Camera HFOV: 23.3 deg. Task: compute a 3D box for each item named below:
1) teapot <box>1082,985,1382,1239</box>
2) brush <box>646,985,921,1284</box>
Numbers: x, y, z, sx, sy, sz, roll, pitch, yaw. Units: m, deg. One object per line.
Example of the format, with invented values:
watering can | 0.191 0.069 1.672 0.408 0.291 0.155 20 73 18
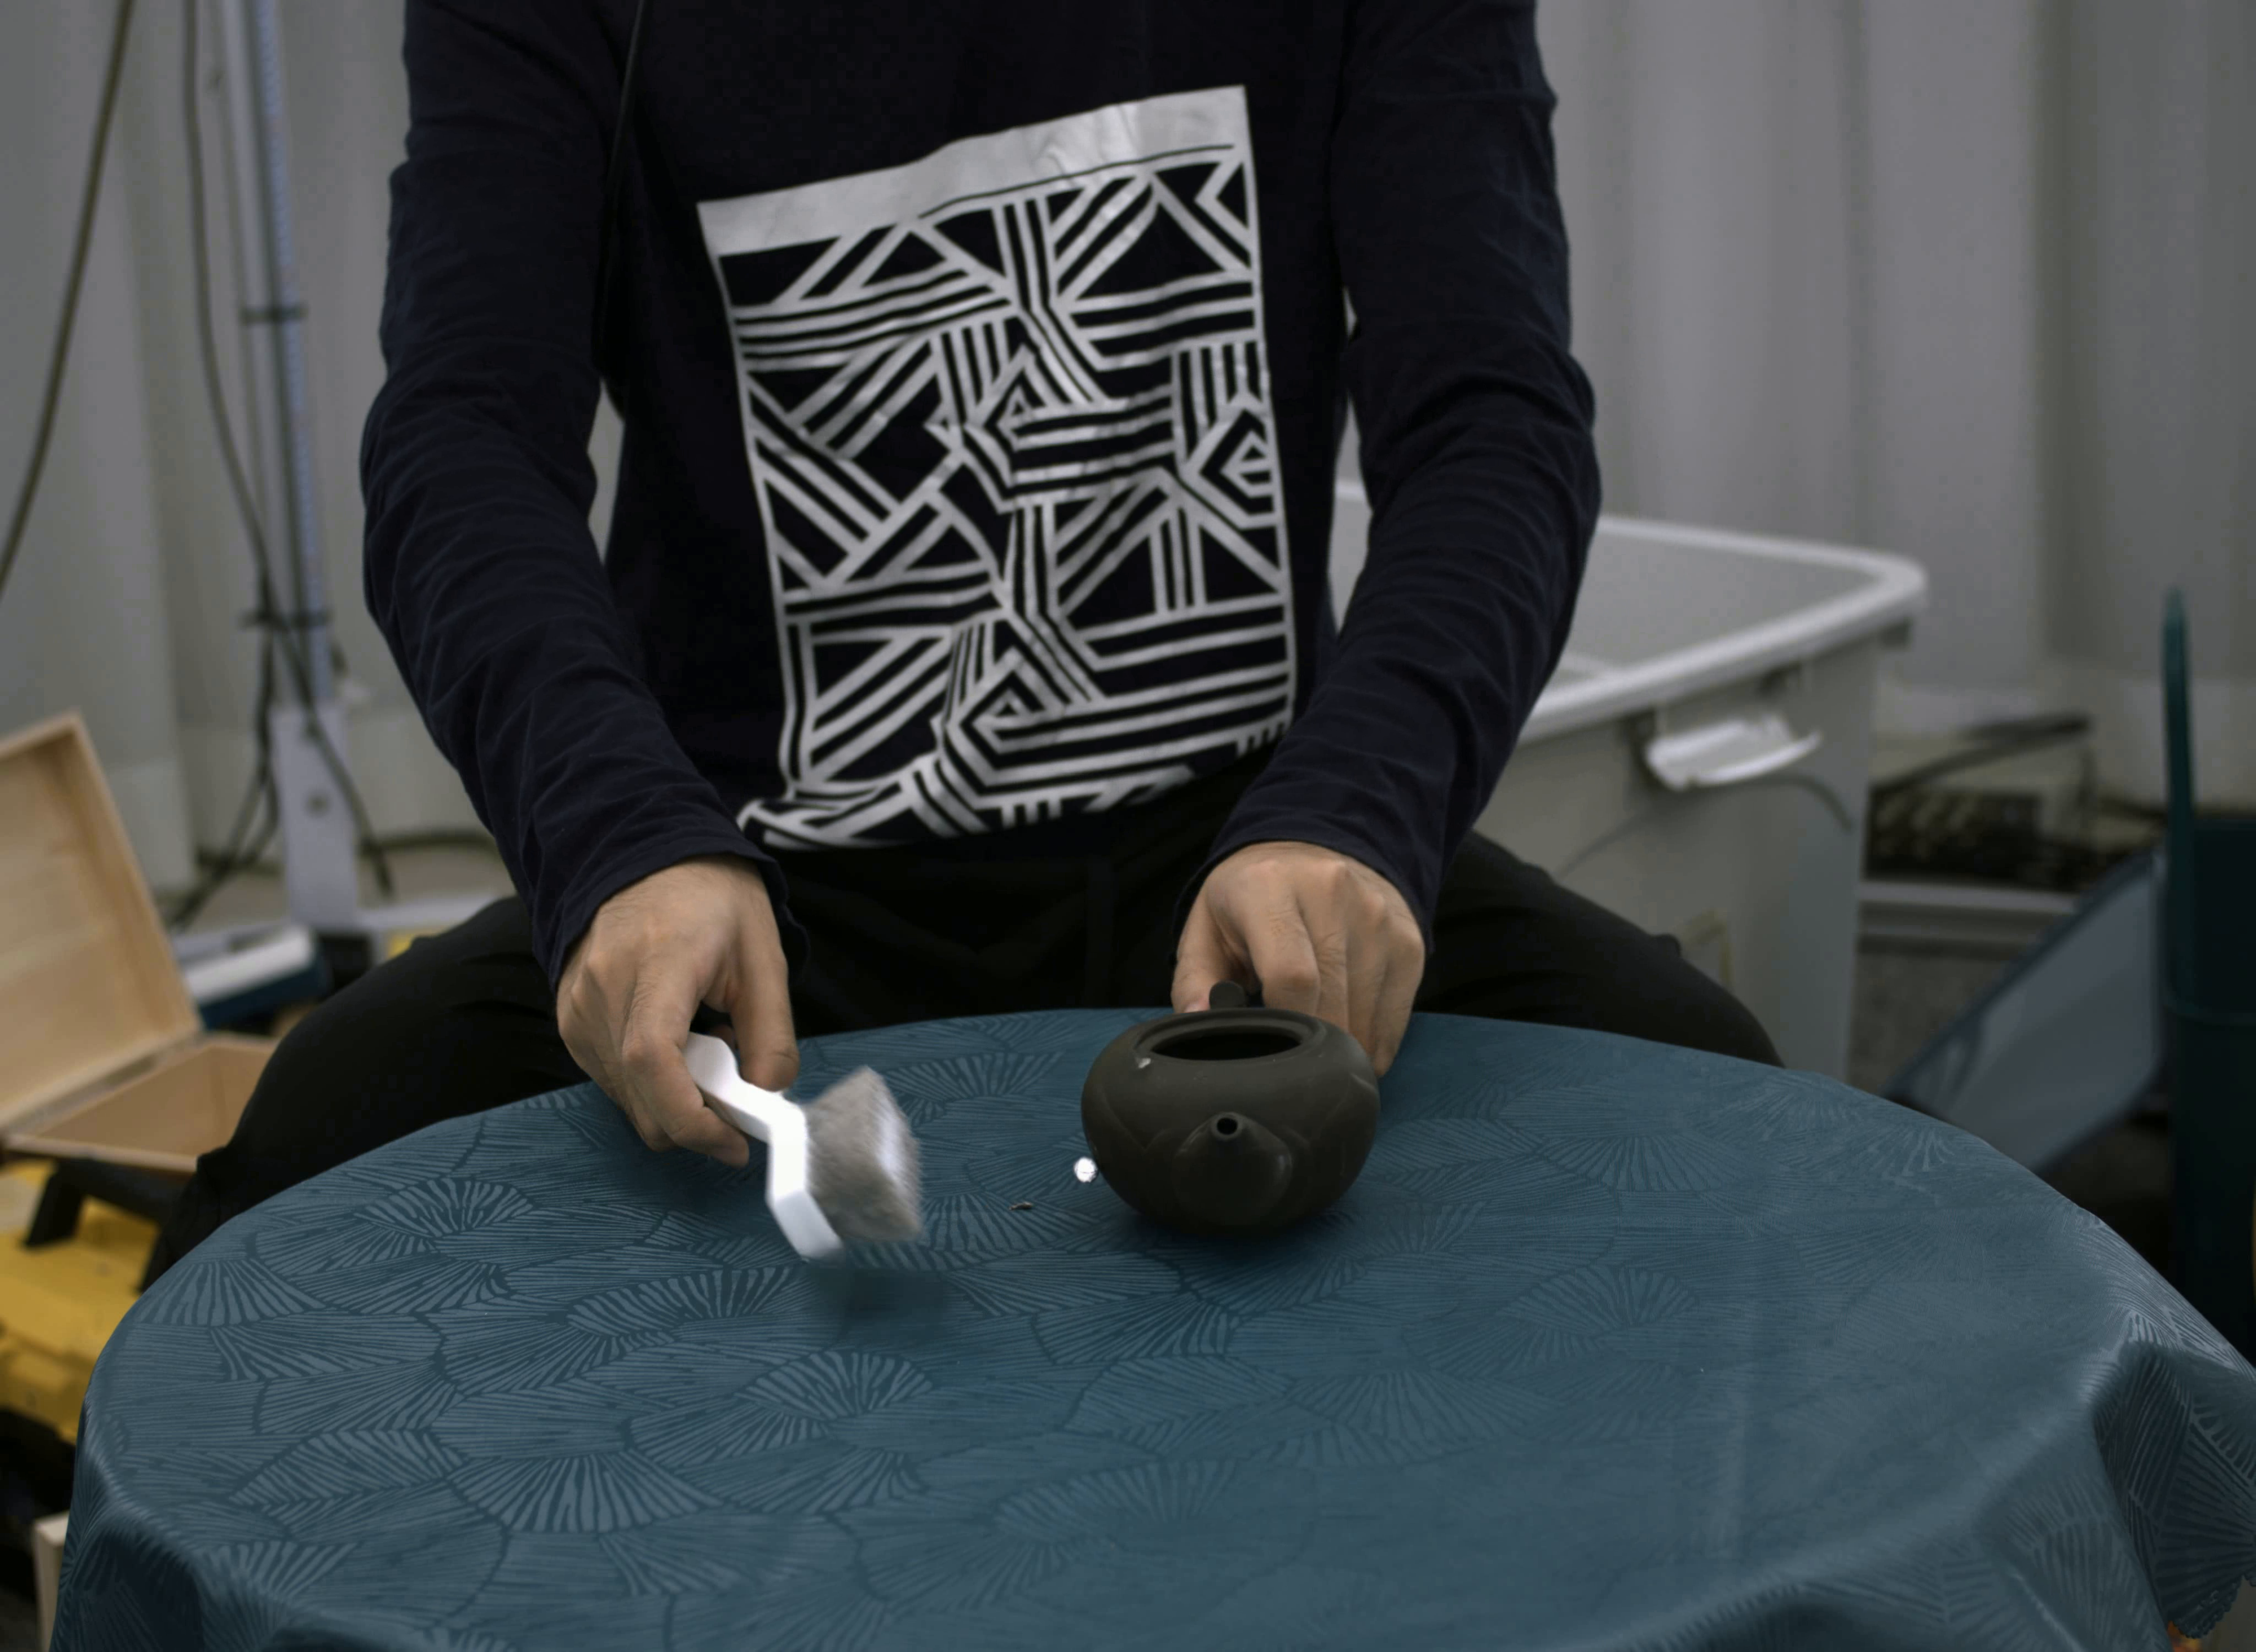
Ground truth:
teapot | 0.033 0.089 1.687 0.092 0.064 0.155 -3 14 4
brush | -0.107 0.081 1.708 0.050 0.034 0.246 -40 22 -2
